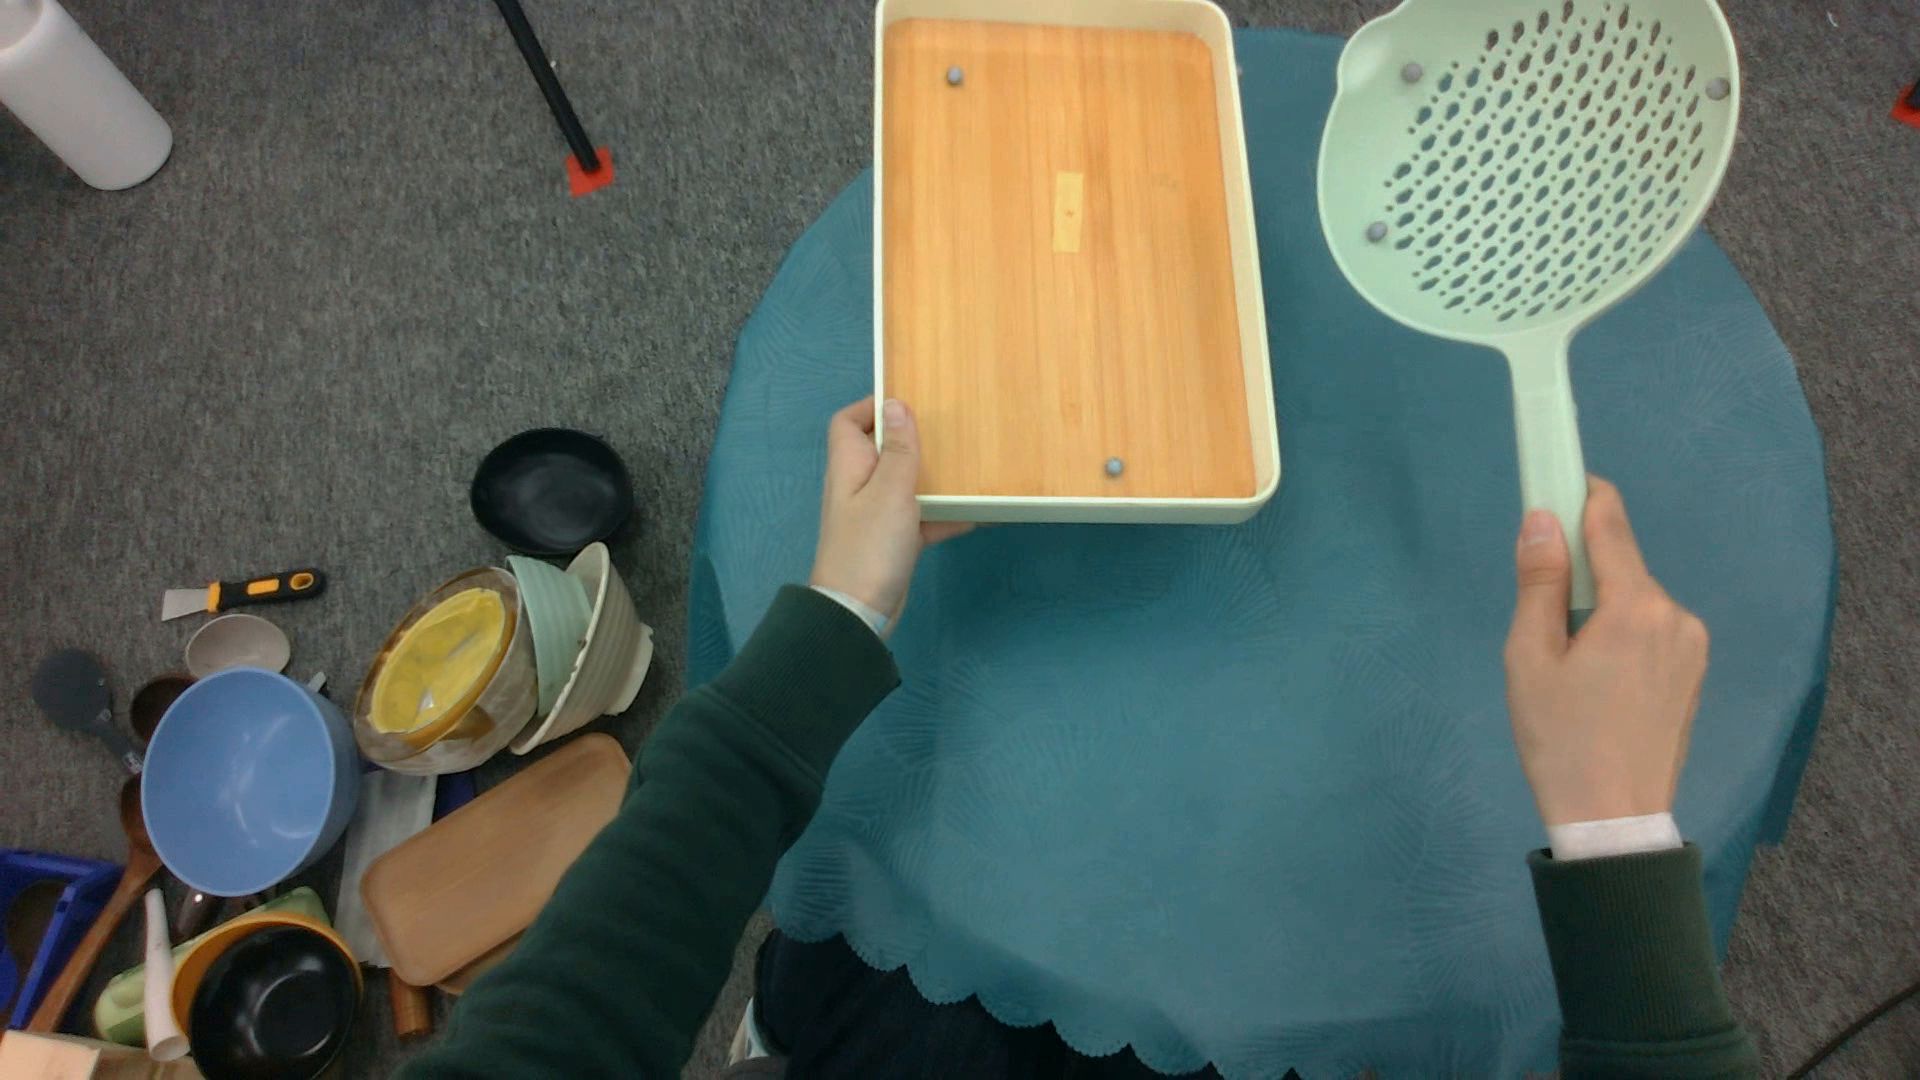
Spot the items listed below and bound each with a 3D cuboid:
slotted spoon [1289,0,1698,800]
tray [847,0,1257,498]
[{"bbox_3d":[0.227,-0.079,0.566,0.169,0.075,0.360,-12,68,41],"label":"slotted spoon"},{"bbox_3d":[0.039,-0.163,0.691,0.192,0.027,0.301,0,68,-6],"label":"tray"}]
